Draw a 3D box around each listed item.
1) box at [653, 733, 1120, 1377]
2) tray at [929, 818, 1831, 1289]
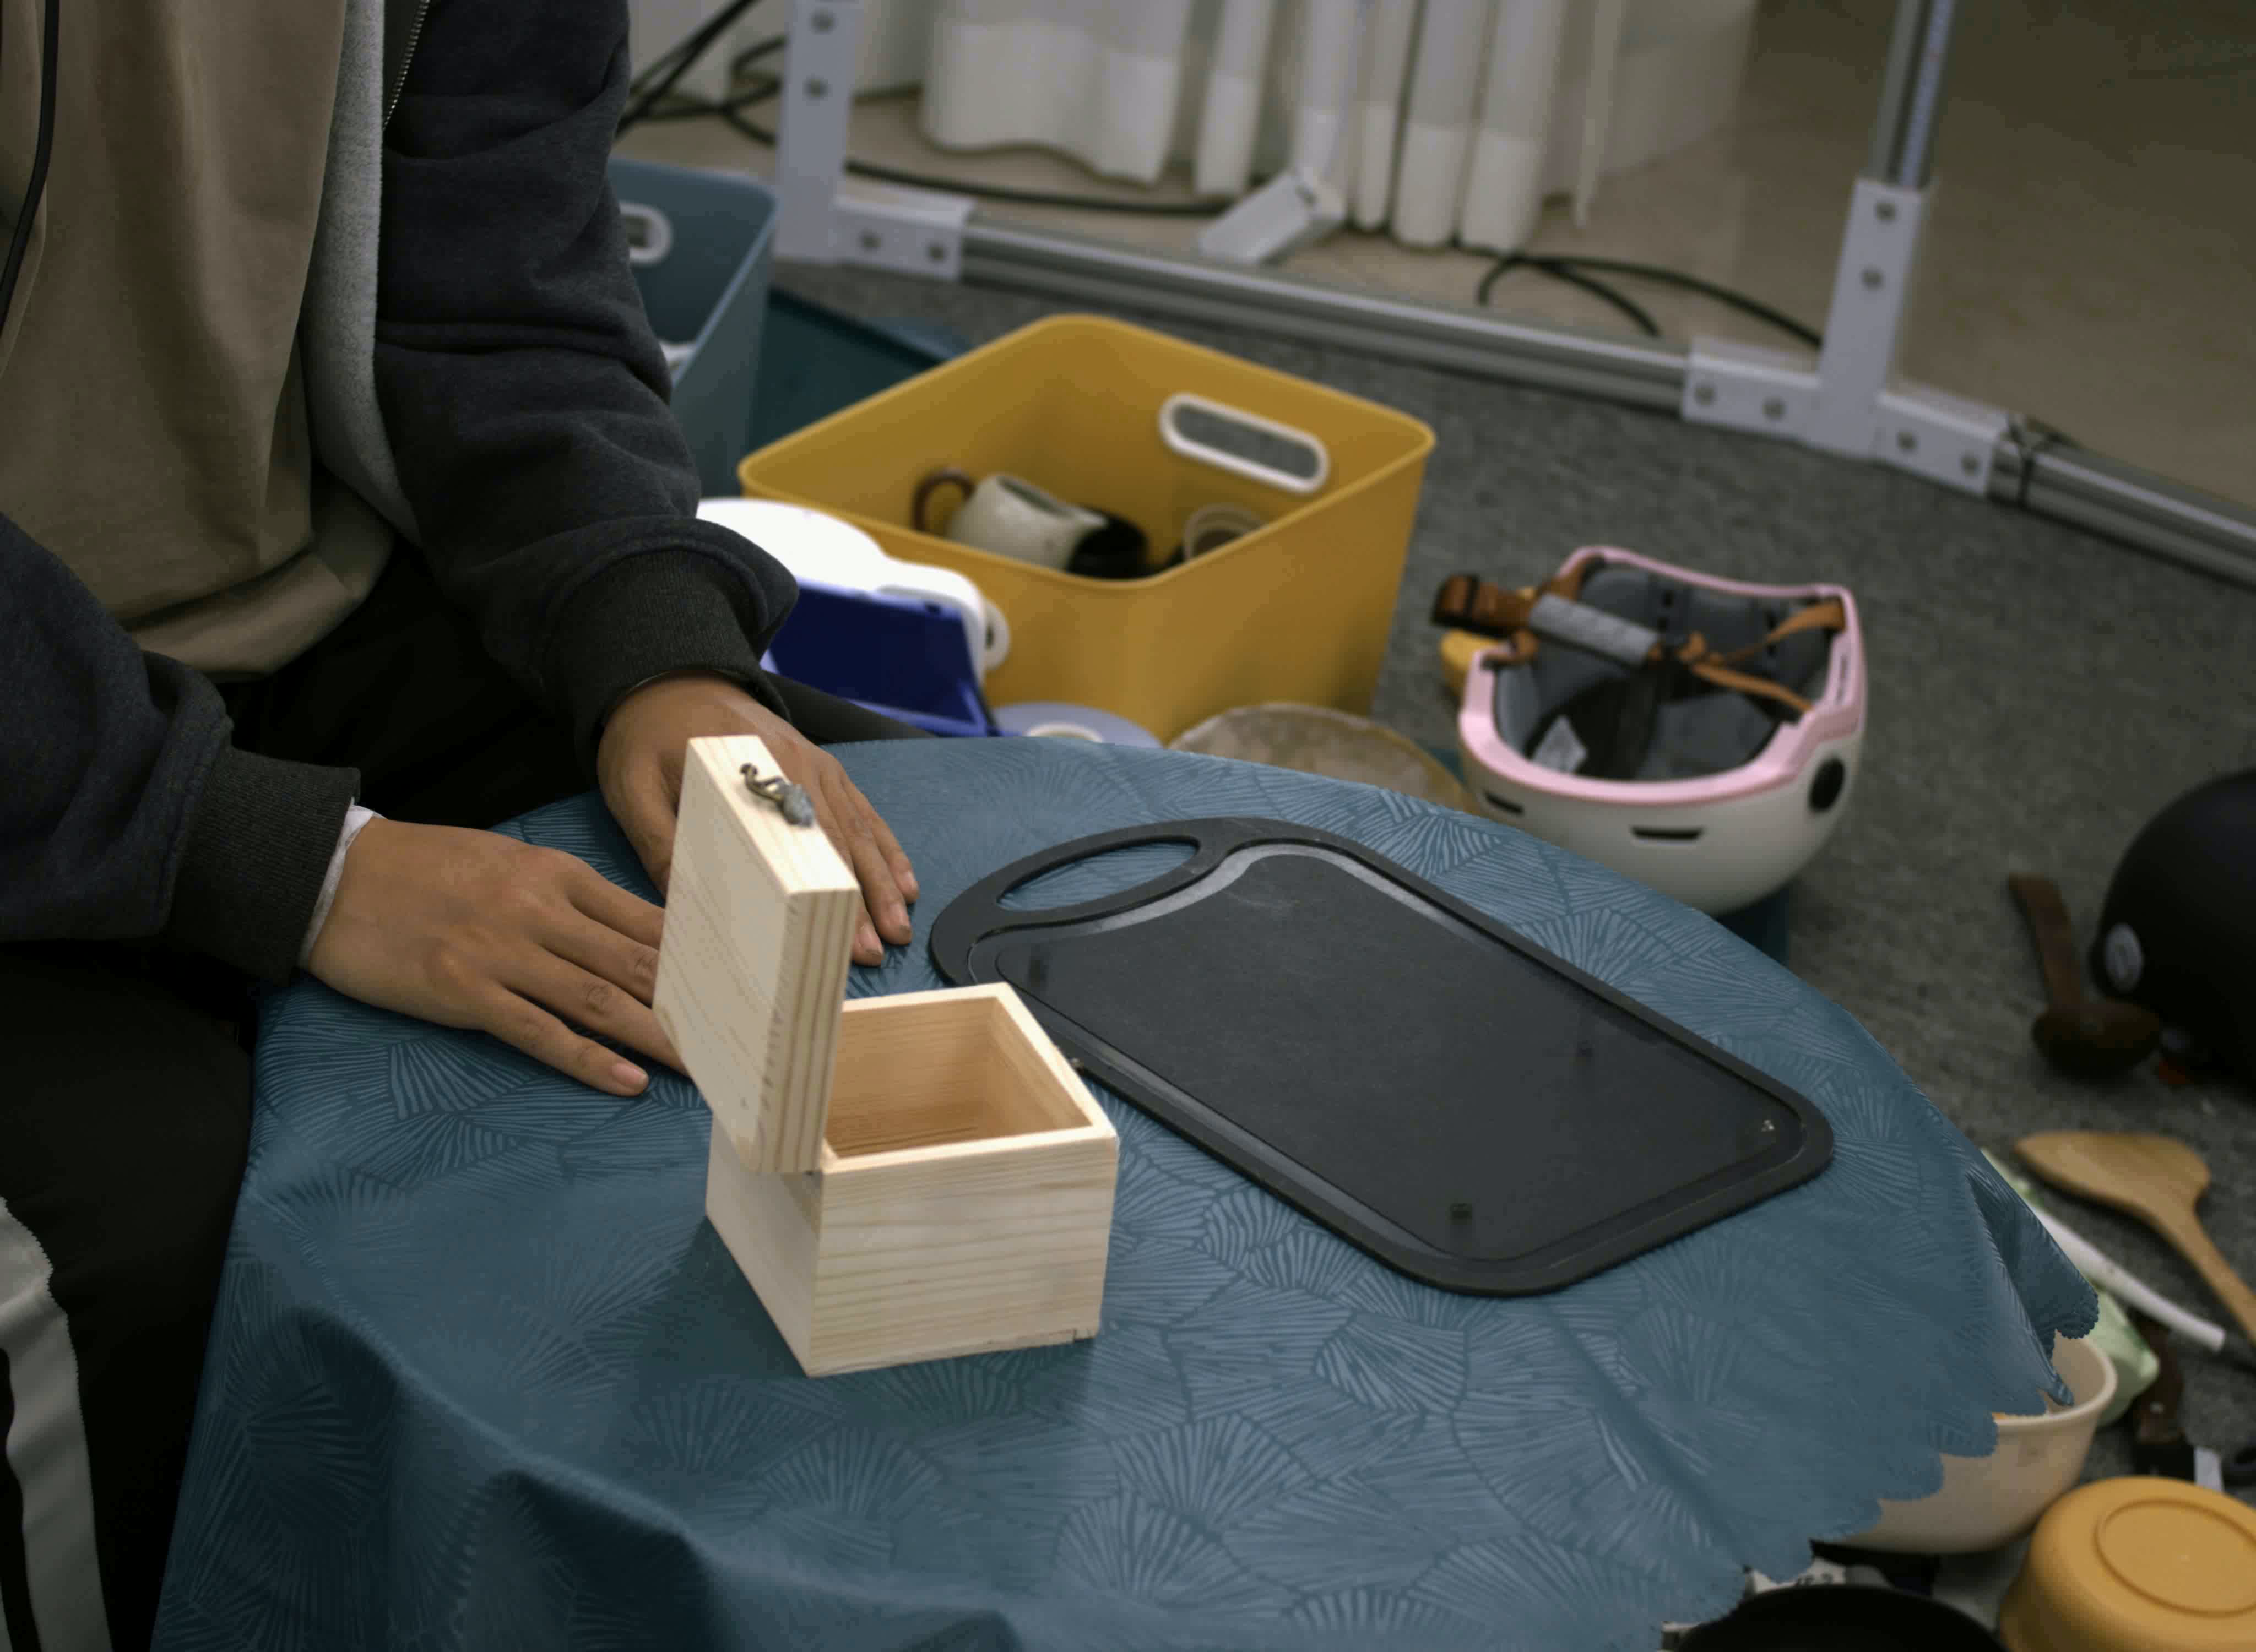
[{"bbox_3d":[-0.074,0.067,1.692,0.133,0.184,0.103,-7,30,-22],"label":"box"},{"bbox_3d":[0.081,0.072,1.913,0.210,0.010,0.328,-17,35,-39],"label":"tray"}]
